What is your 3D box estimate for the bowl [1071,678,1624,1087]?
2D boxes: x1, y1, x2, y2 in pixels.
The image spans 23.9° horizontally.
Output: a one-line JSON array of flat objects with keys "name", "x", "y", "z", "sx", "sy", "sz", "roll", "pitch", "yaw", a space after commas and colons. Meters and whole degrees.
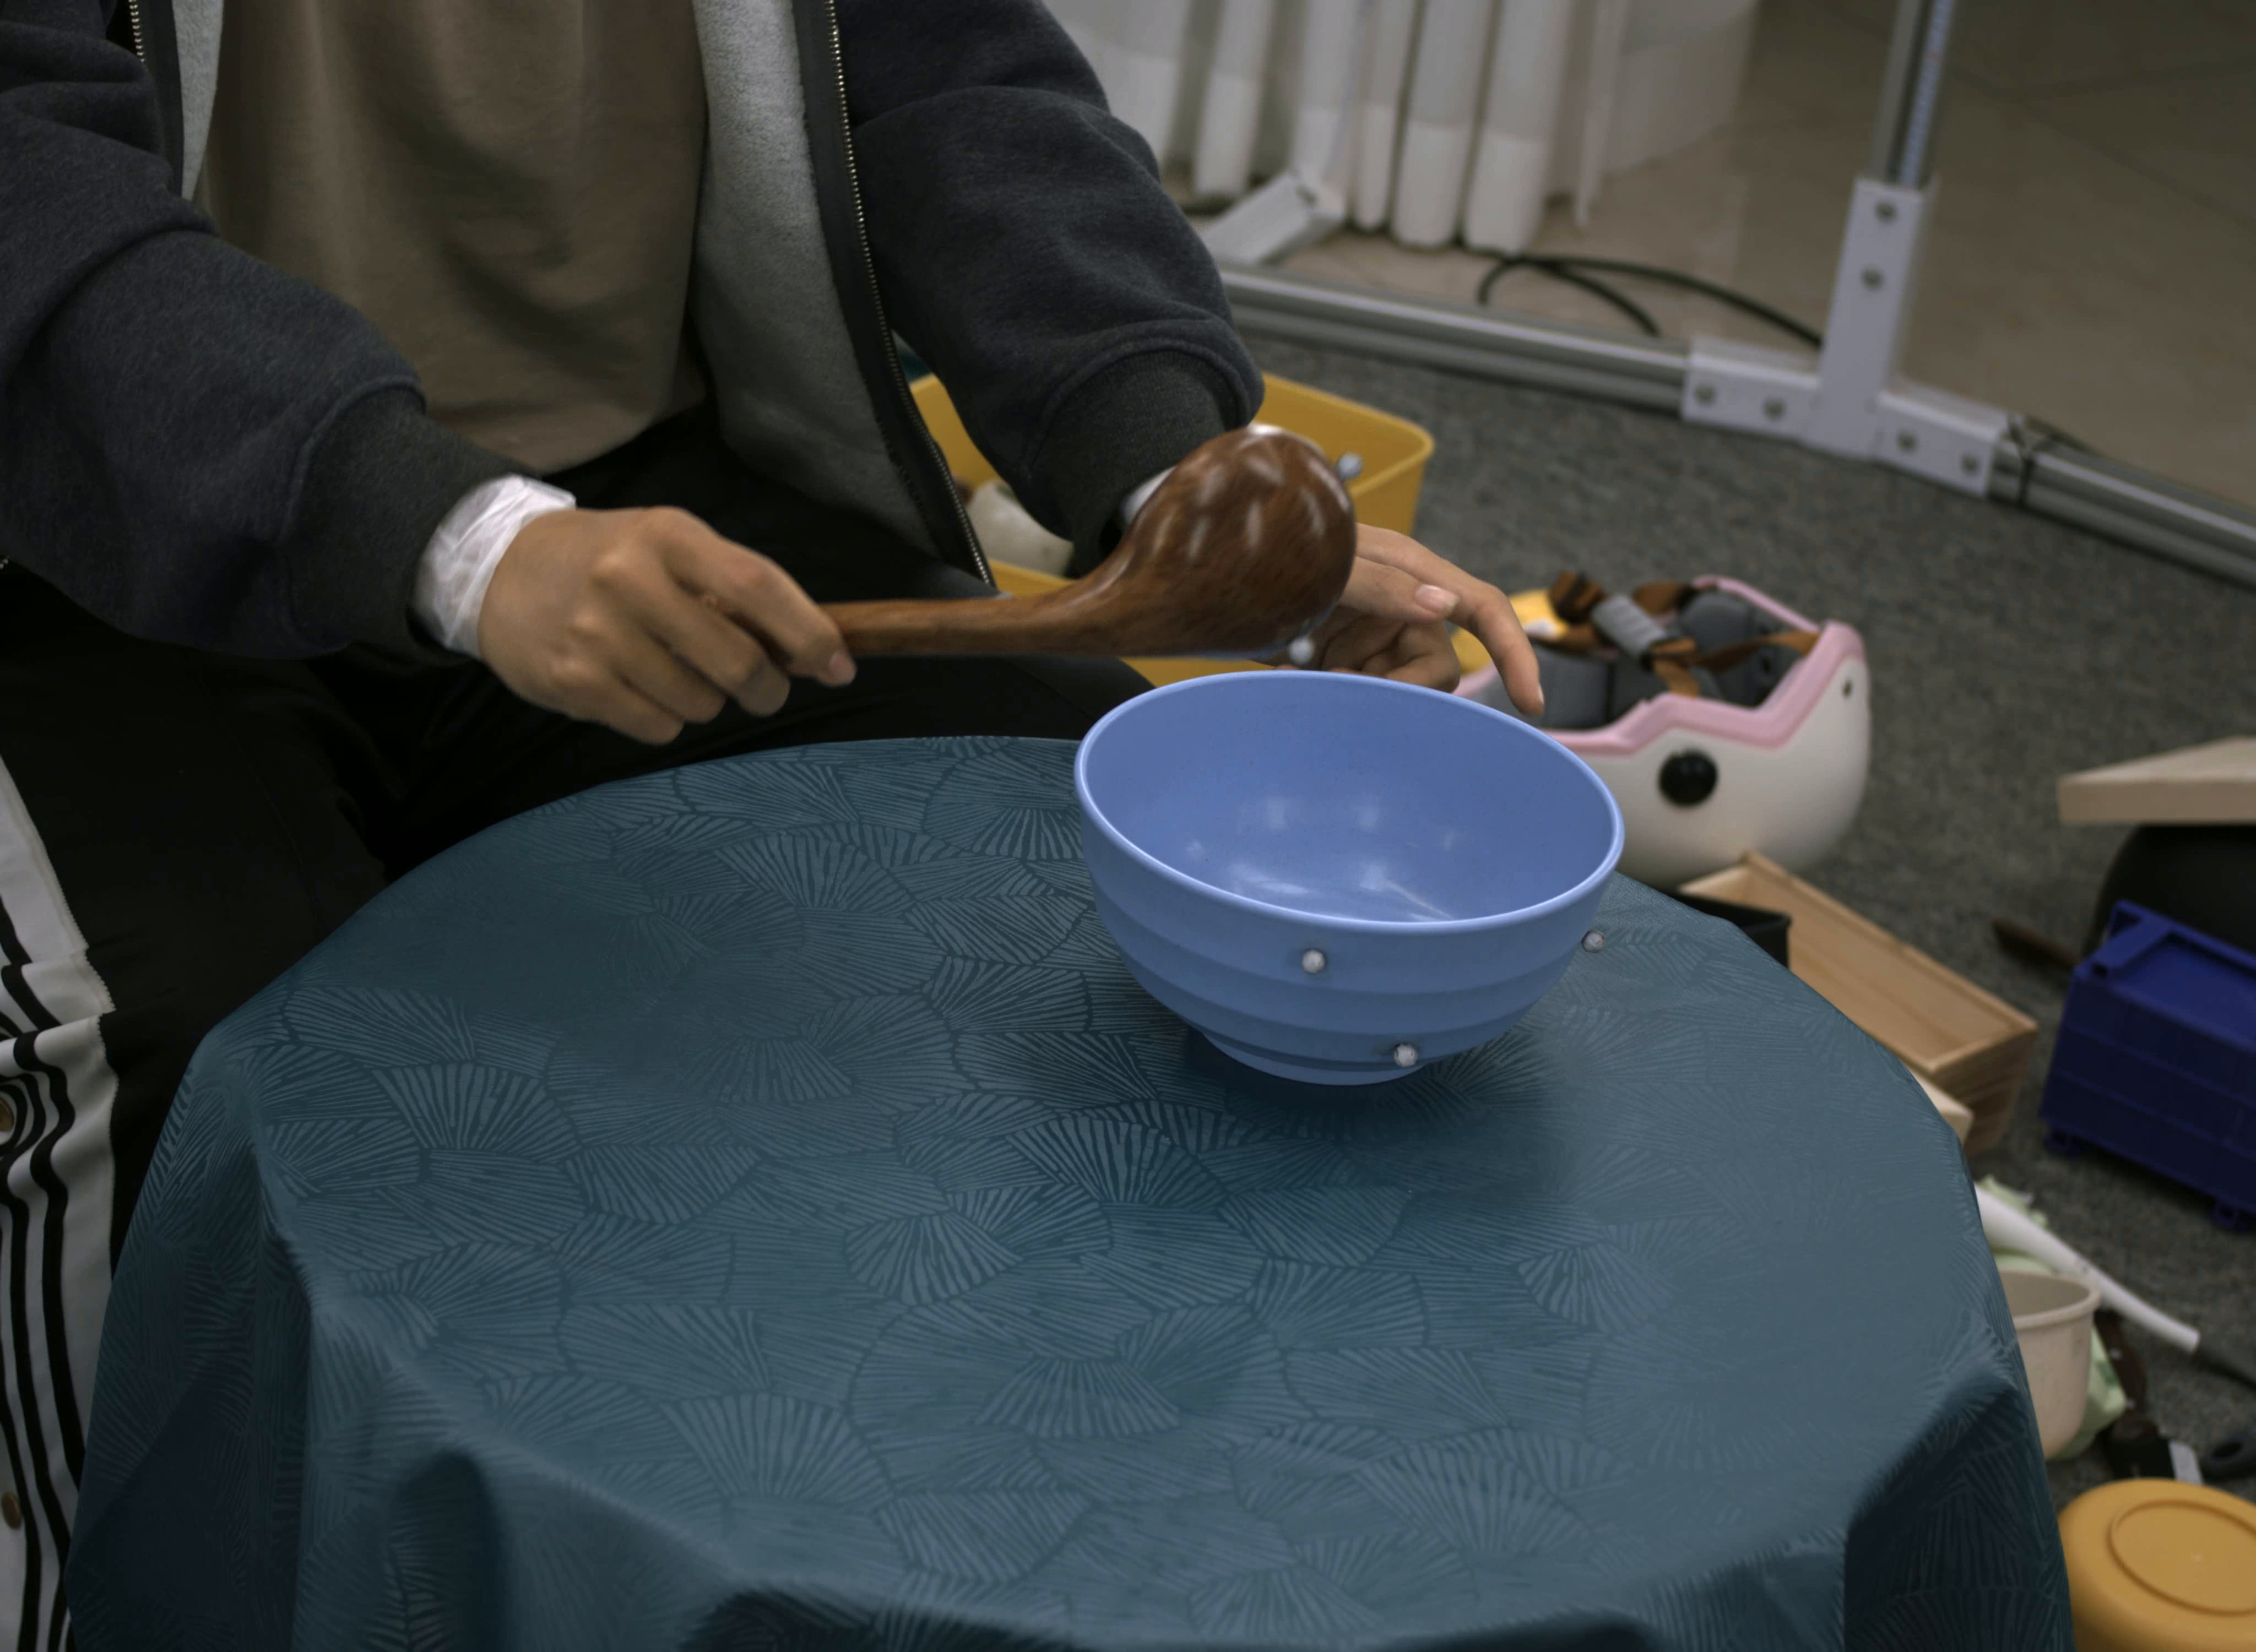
[{"name": "bowl", "x": 0.073, "y": 0.030, "z": 1.899, "sx": 0.196, "sy": 0.095, "sz": 0.197, "roll": 4, "pitch": 26, "yaw": -2}]

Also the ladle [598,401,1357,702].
[{"name": "ladle", "x": -0.053, "y": -0.089, "z": 1.774, "sx": 0.275, "sy": 0.081, "sz": 0.077, "roll": -5, "pitch": 42, "yaw": 31}]
